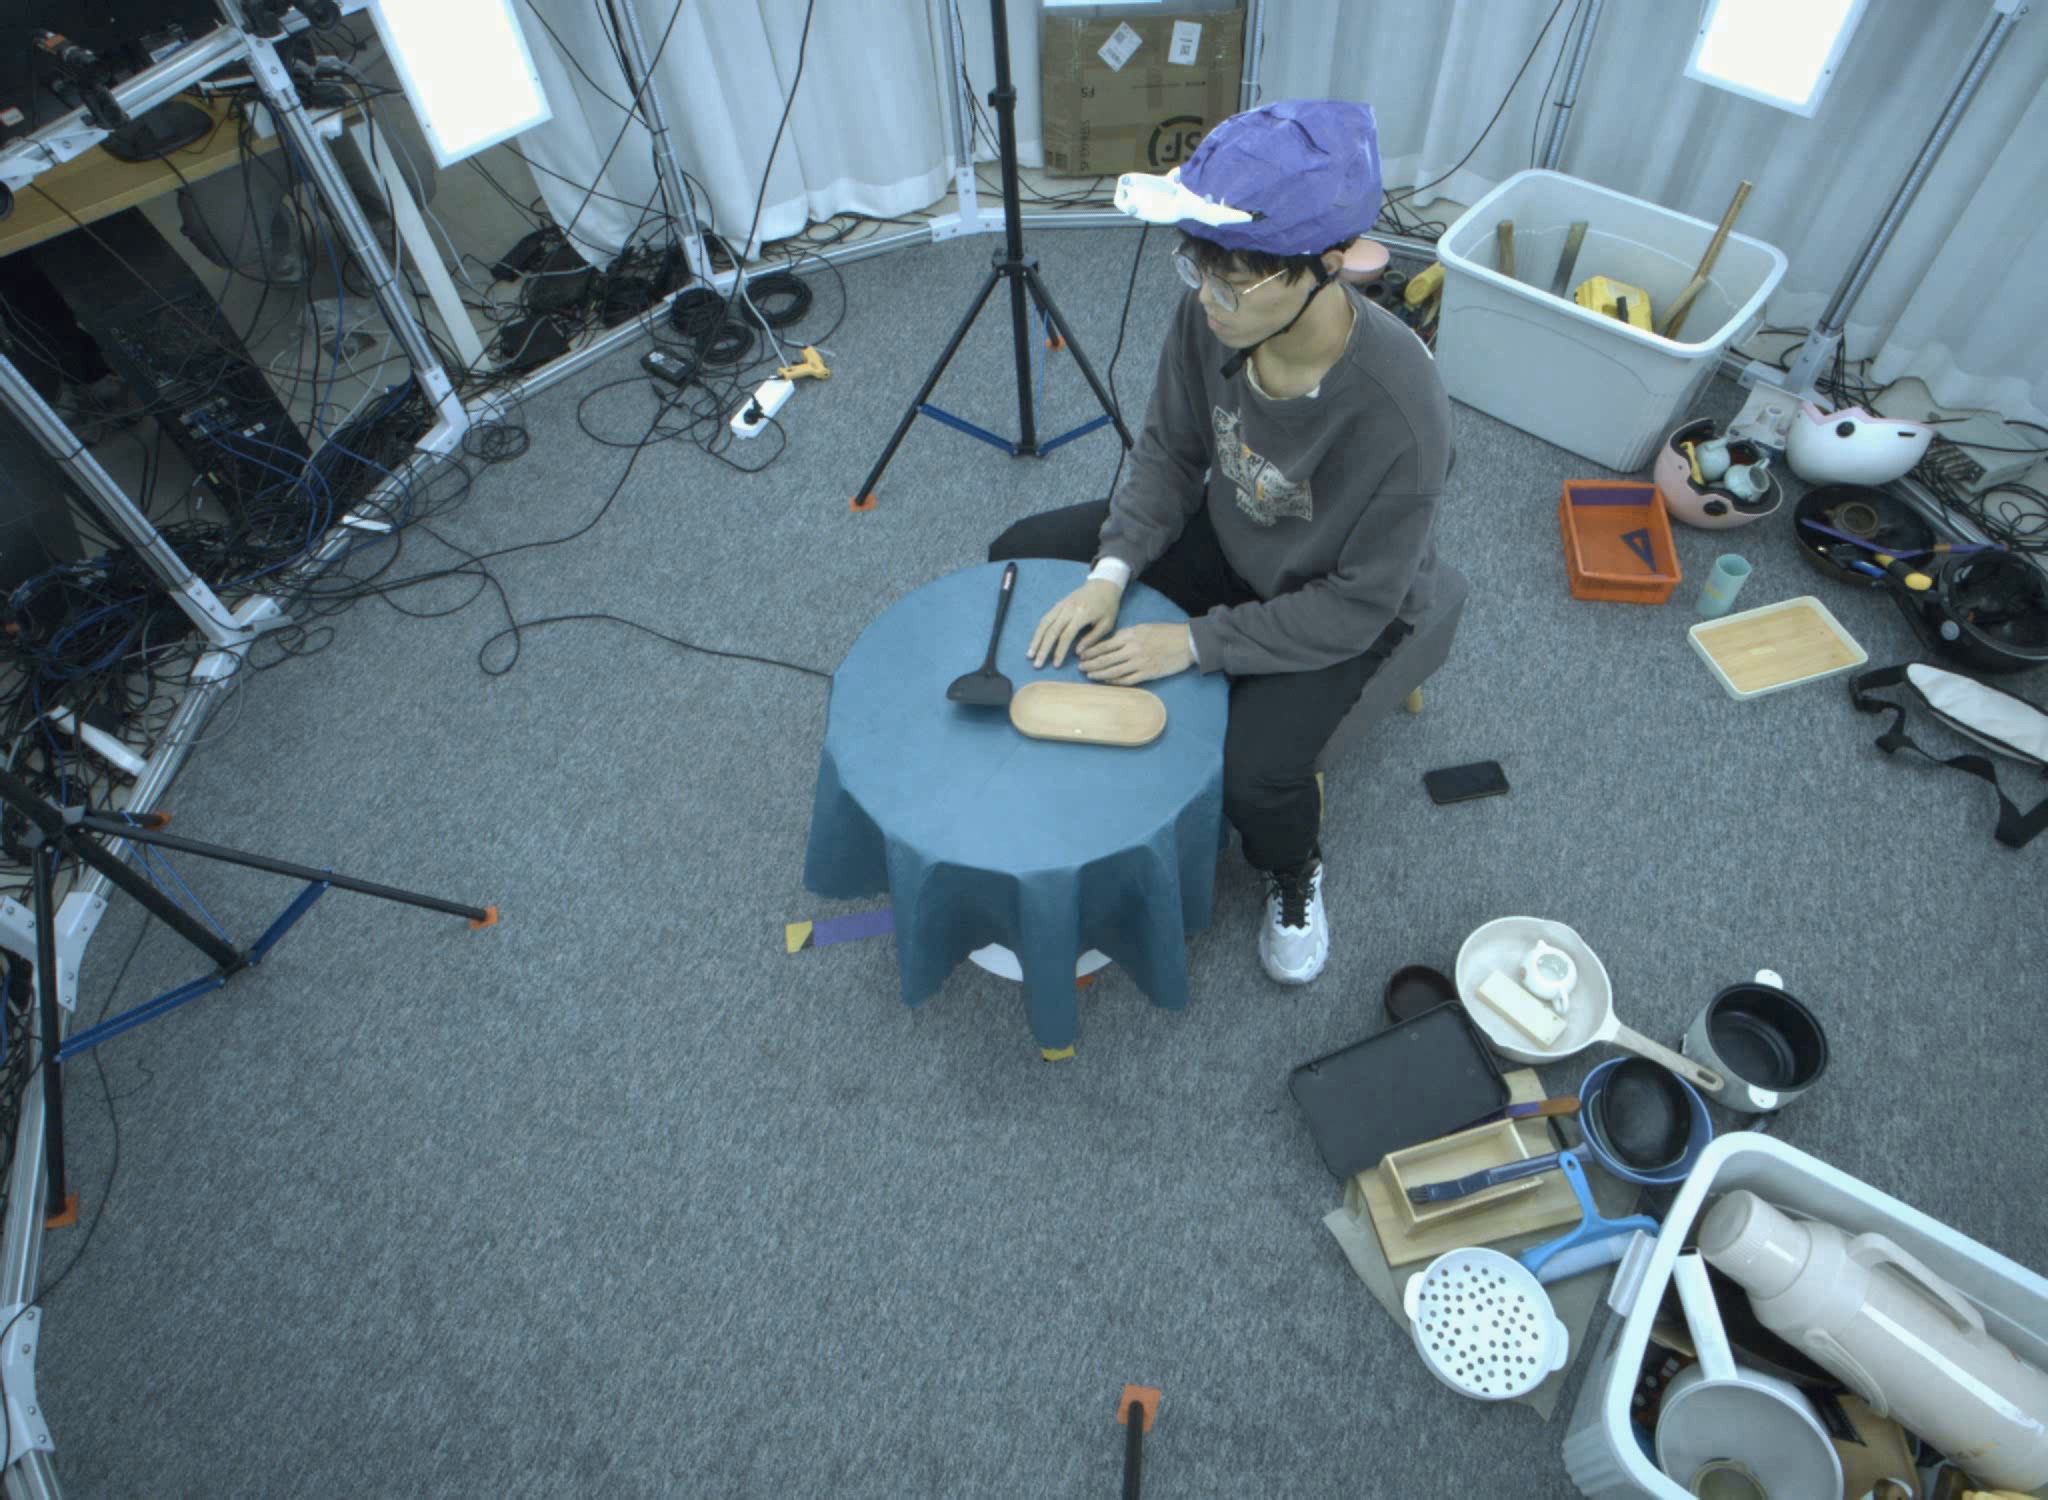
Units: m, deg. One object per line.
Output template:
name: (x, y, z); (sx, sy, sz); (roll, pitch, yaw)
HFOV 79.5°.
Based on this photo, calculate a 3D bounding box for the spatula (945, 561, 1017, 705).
spatula: (-0.045, -0.186, 1.898); (0.099, 0.041, 0.324); (7, 55, 5)

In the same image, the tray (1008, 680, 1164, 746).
tray: (0.091, -0.054, 1.810); (0.230, 0.020, 0.101); (5, 54, 6)
